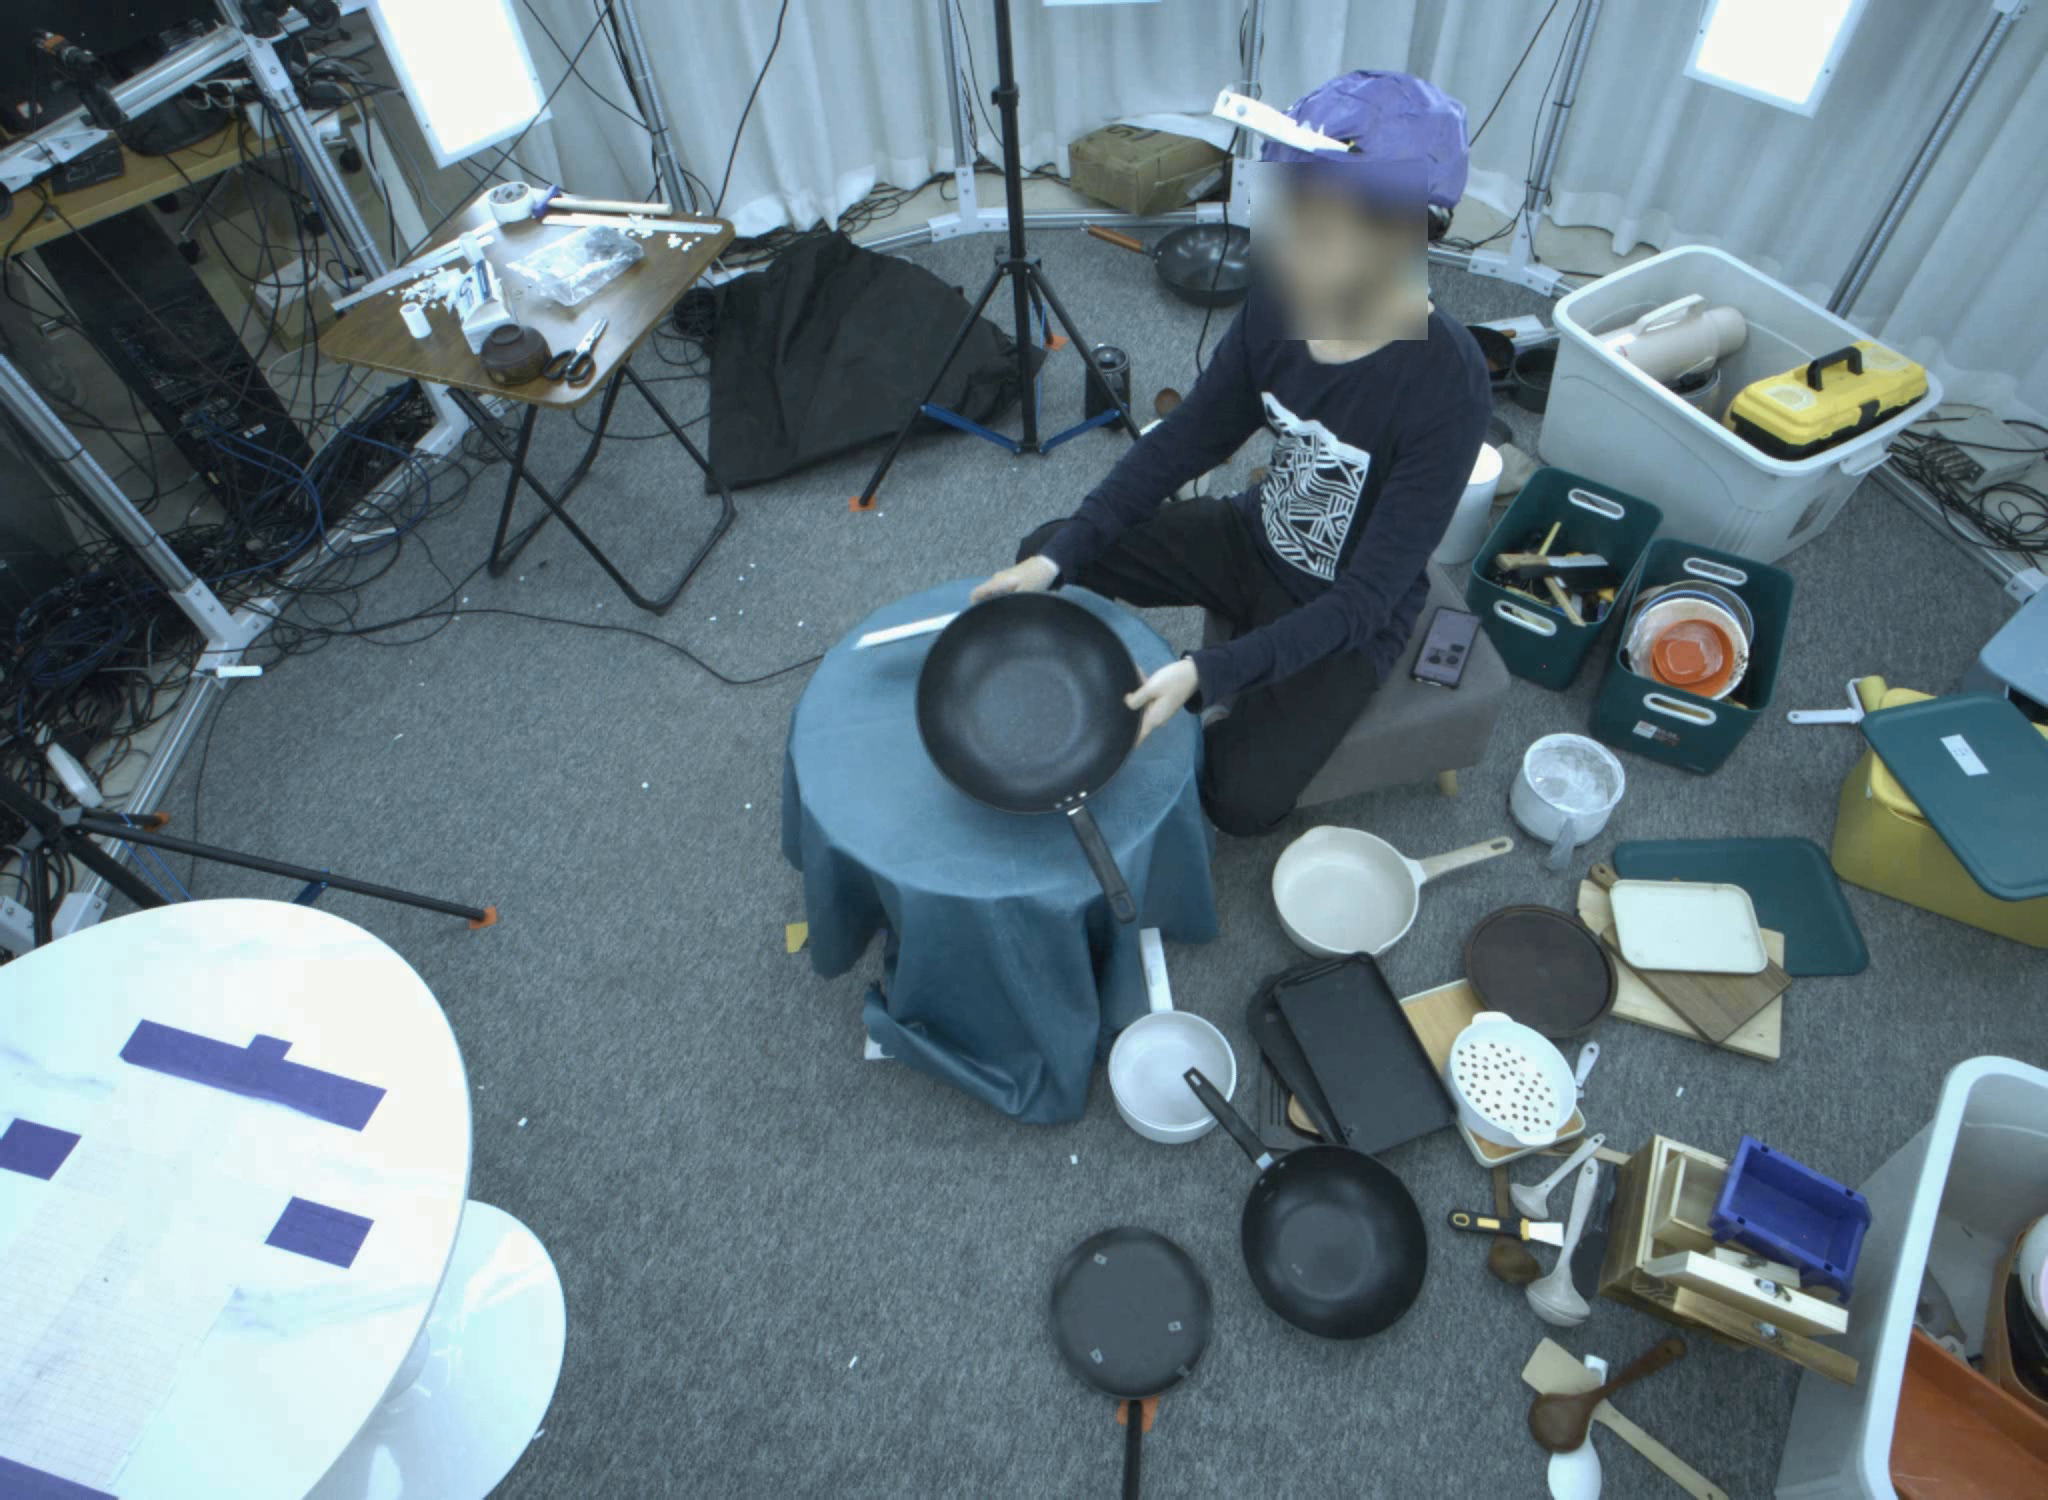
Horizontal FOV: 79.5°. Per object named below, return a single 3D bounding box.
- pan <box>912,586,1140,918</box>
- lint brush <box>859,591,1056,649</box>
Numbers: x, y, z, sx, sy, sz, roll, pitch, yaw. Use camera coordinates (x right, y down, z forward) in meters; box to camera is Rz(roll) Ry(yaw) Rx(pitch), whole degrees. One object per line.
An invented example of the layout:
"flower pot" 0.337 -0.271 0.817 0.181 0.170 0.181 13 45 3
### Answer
"pan" 0.036 0.009 1.682 0.311 0.111 0.475 -24 85 -7
"lint brush" -0.101 -0.198 1.864 0.310 0.059 0.021 -14 95 -5
